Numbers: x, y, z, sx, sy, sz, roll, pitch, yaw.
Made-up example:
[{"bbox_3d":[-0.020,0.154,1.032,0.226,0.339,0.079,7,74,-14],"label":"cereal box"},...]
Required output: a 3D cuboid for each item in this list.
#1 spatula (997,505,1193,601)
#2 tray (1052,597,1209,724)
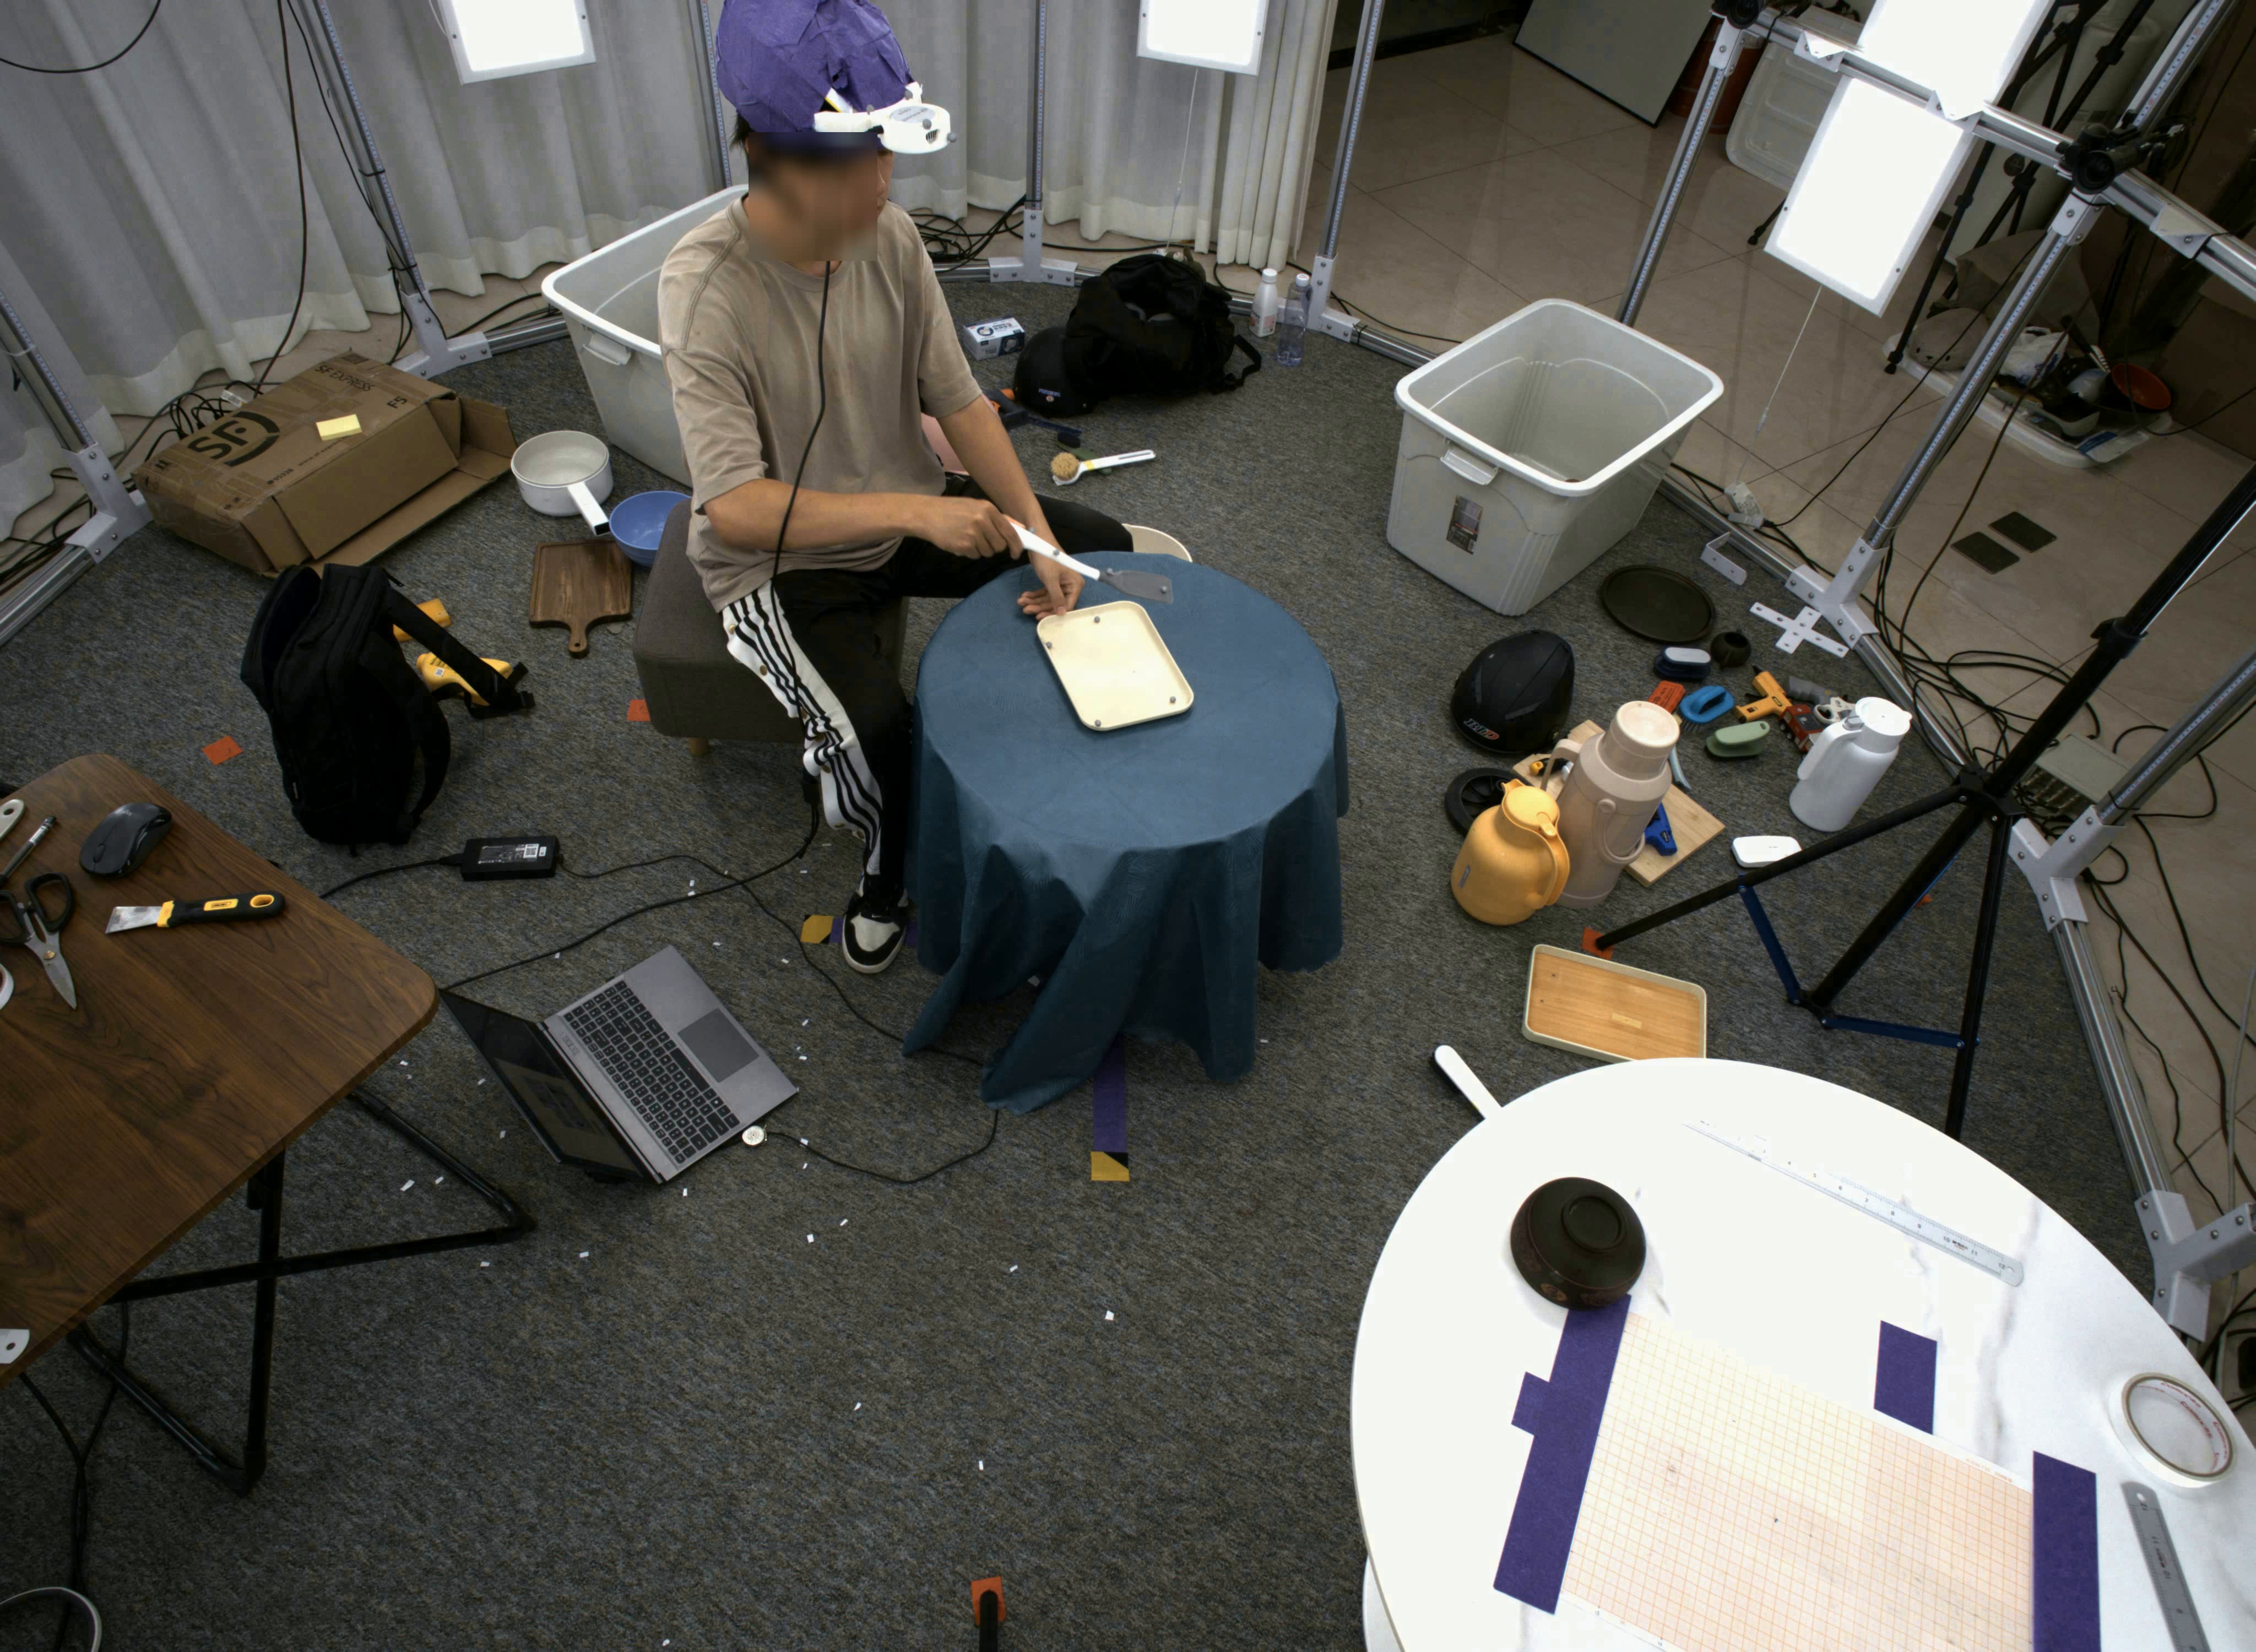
[{"bbox_3d":[-0.039,-0.360,1.715,0.285,0.032,0.060,17,43,-25],"label":"spatula"},{"bbox_3d":[0.001,-0.241,1.851,0.171,0.017,0.245,-13,51,-17],"label":"tray"}]
